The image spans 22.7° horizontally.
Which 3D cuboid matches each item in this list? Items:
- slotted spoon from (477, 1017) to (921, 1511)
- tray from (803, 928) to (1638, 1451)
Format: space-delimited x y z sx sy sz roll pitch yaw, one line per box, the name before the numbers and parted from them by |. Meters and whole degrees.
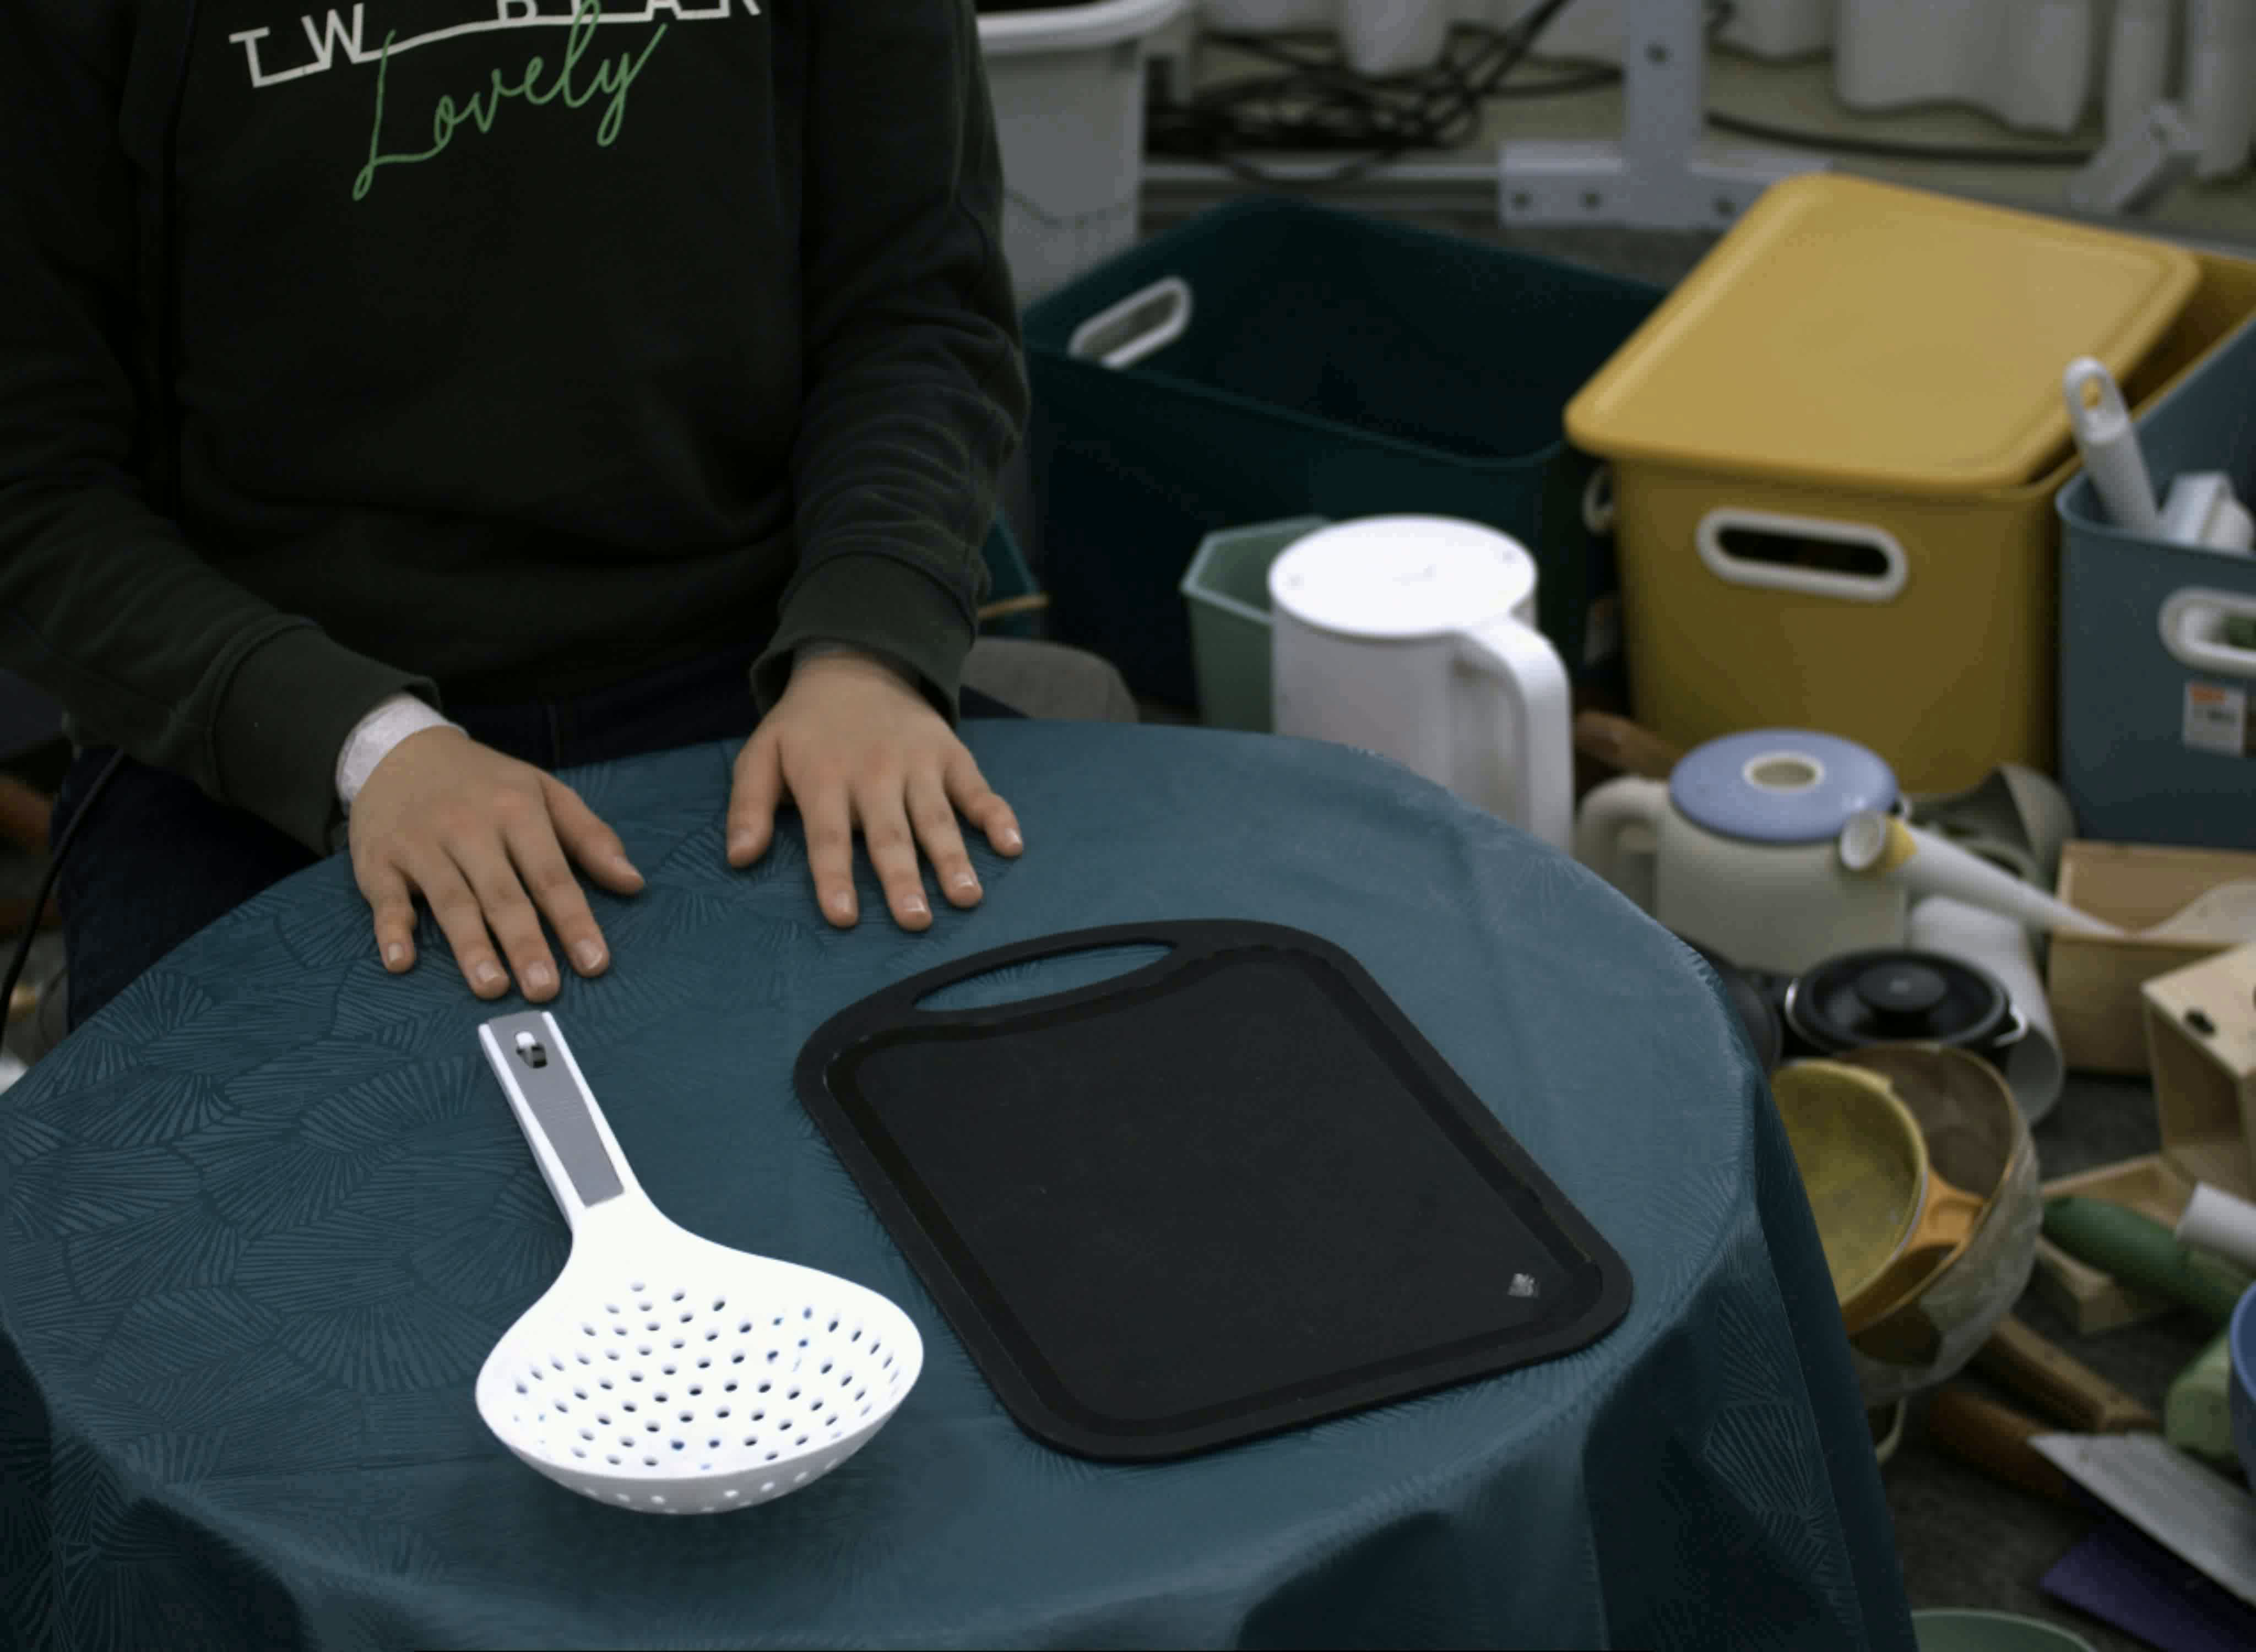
slotted spoon | -0.162 0.134 1.804 0.136 0.045 0.353 -8 27 -15
tray | 0.021 0.111 1.872 0.211 0.009 0.328 -12 28 -17
